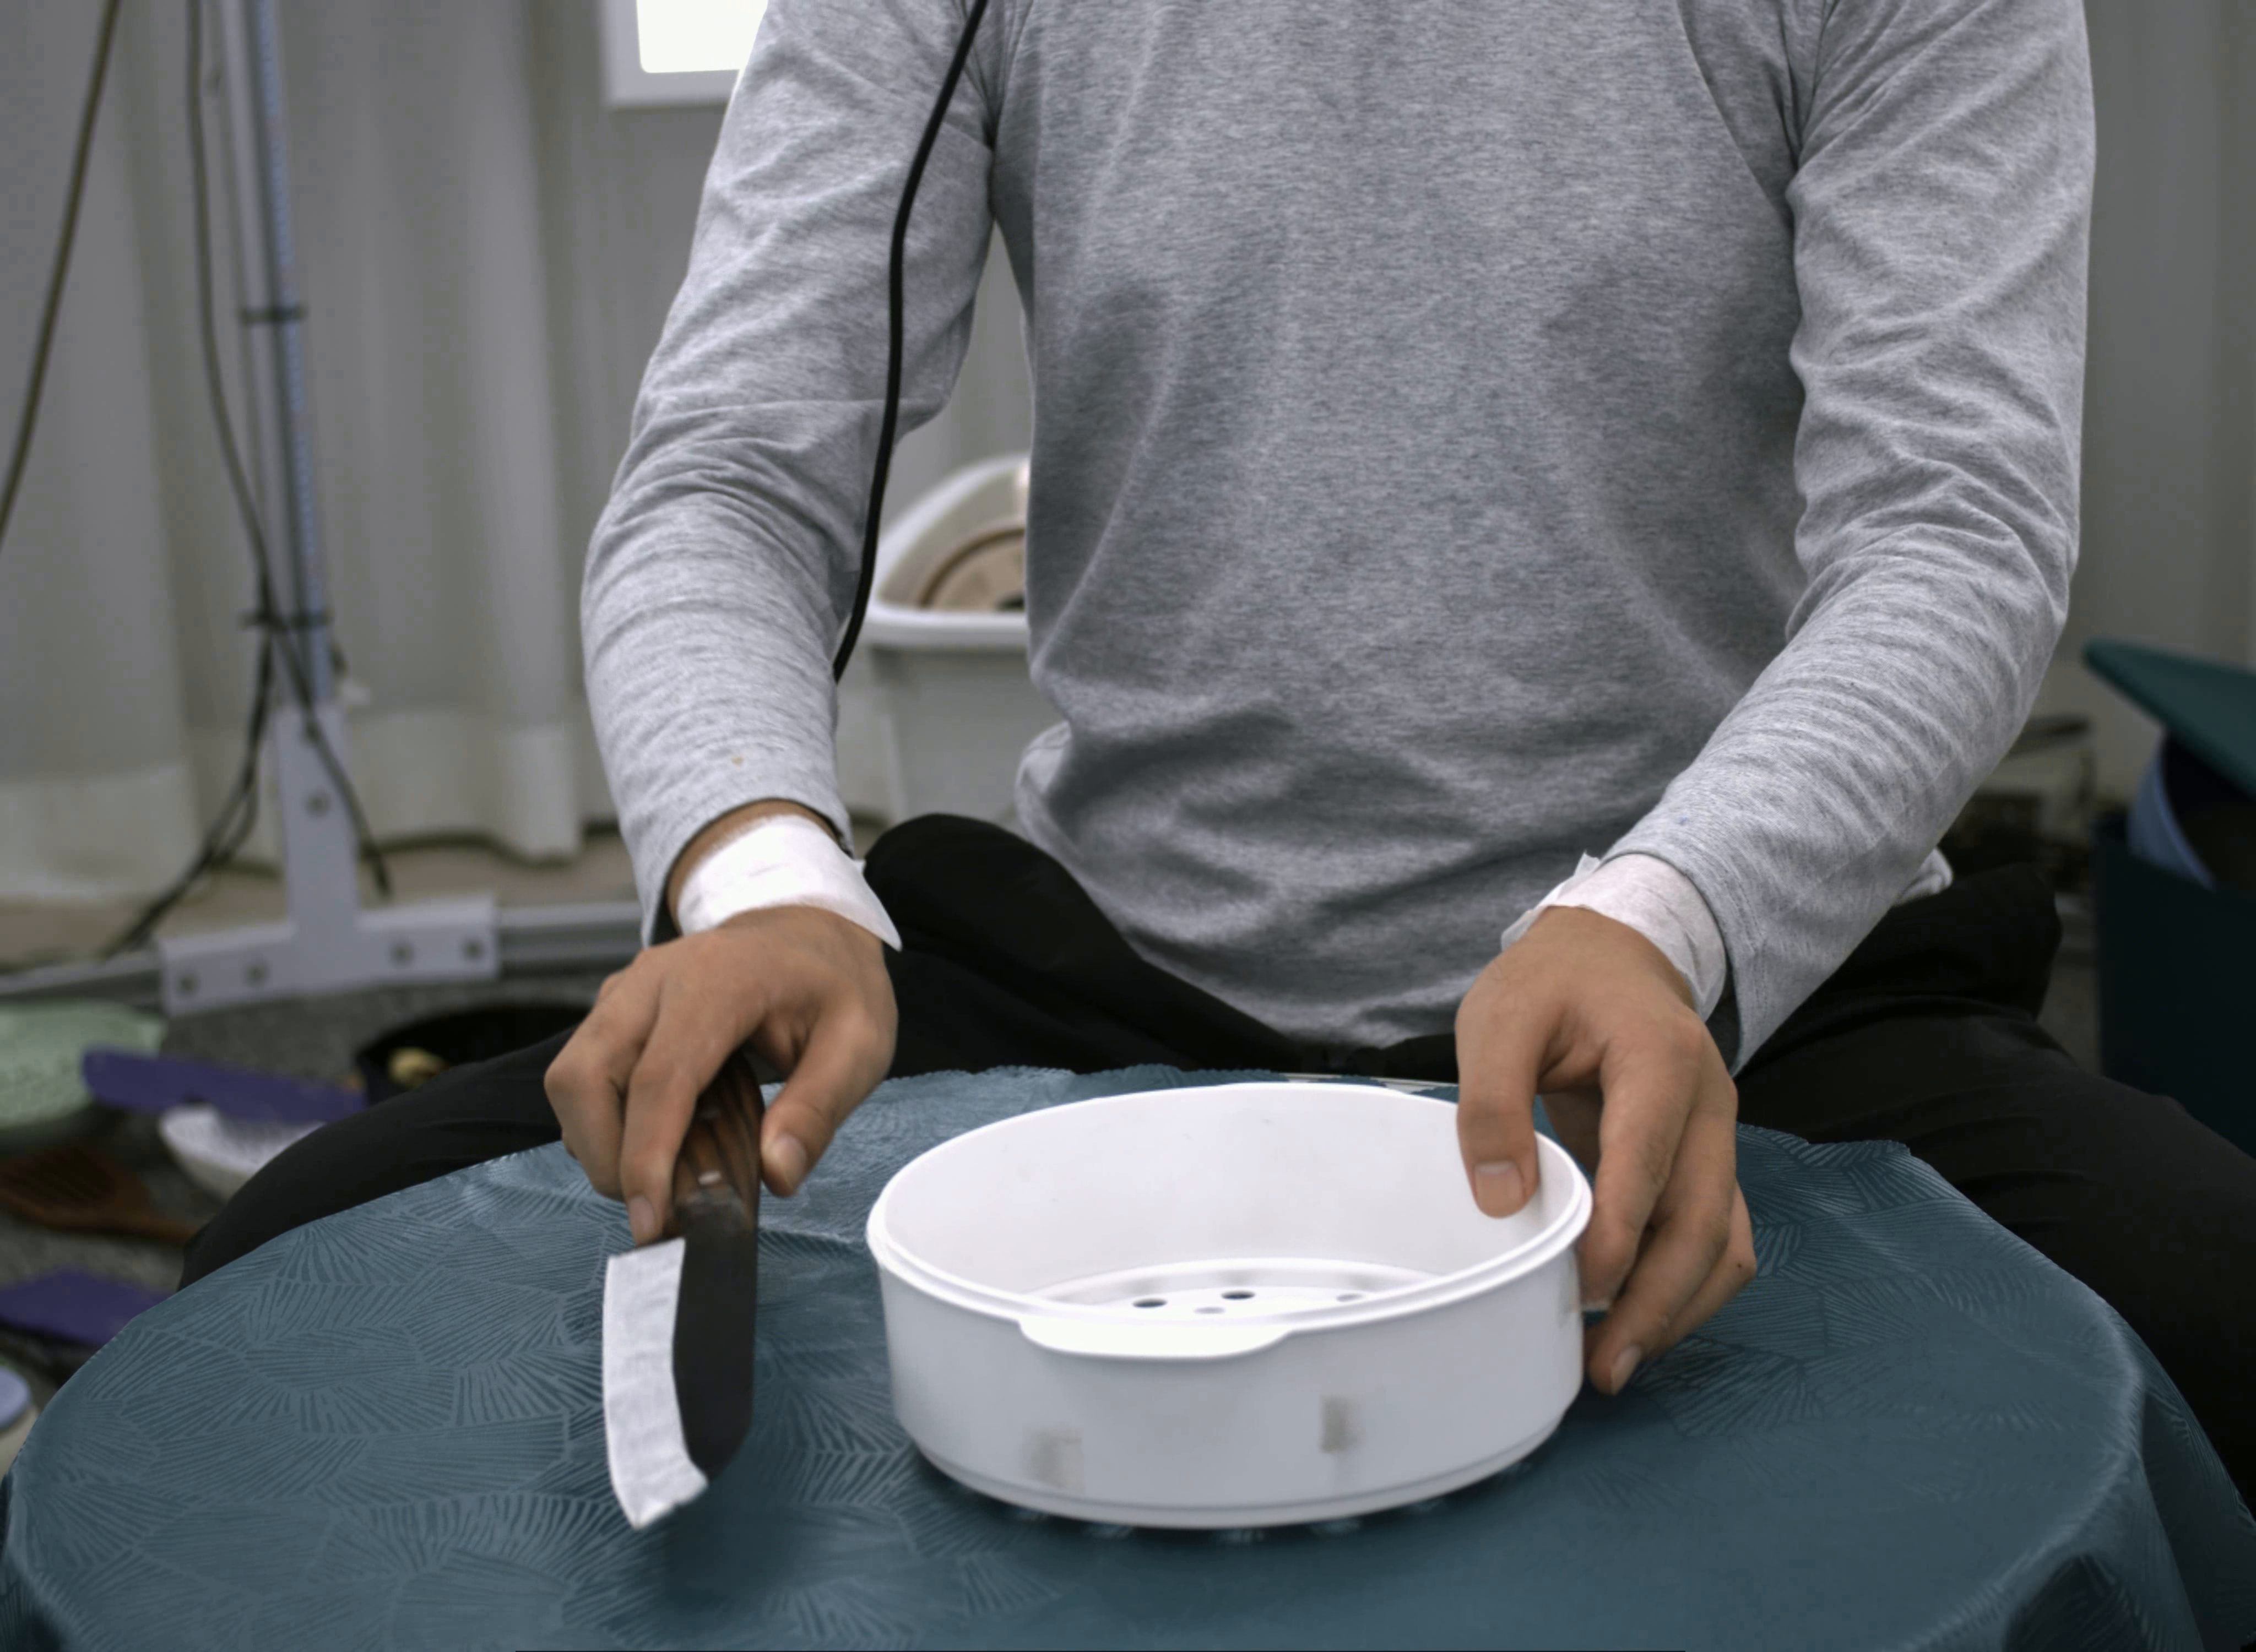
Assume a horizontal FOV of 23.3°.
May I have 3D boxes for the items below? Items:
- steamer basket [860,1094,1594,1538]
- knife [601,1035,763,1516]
[{"bbox_3d":[0.028,0.134,1.508,0.202,0.069,0.231,2,15,14],"label":"steamer basket"},{"bbox_3d":[-0.124,0.124,1.532,0.050,0.020,0.292,-15,21,4],"label":"knife"}]
